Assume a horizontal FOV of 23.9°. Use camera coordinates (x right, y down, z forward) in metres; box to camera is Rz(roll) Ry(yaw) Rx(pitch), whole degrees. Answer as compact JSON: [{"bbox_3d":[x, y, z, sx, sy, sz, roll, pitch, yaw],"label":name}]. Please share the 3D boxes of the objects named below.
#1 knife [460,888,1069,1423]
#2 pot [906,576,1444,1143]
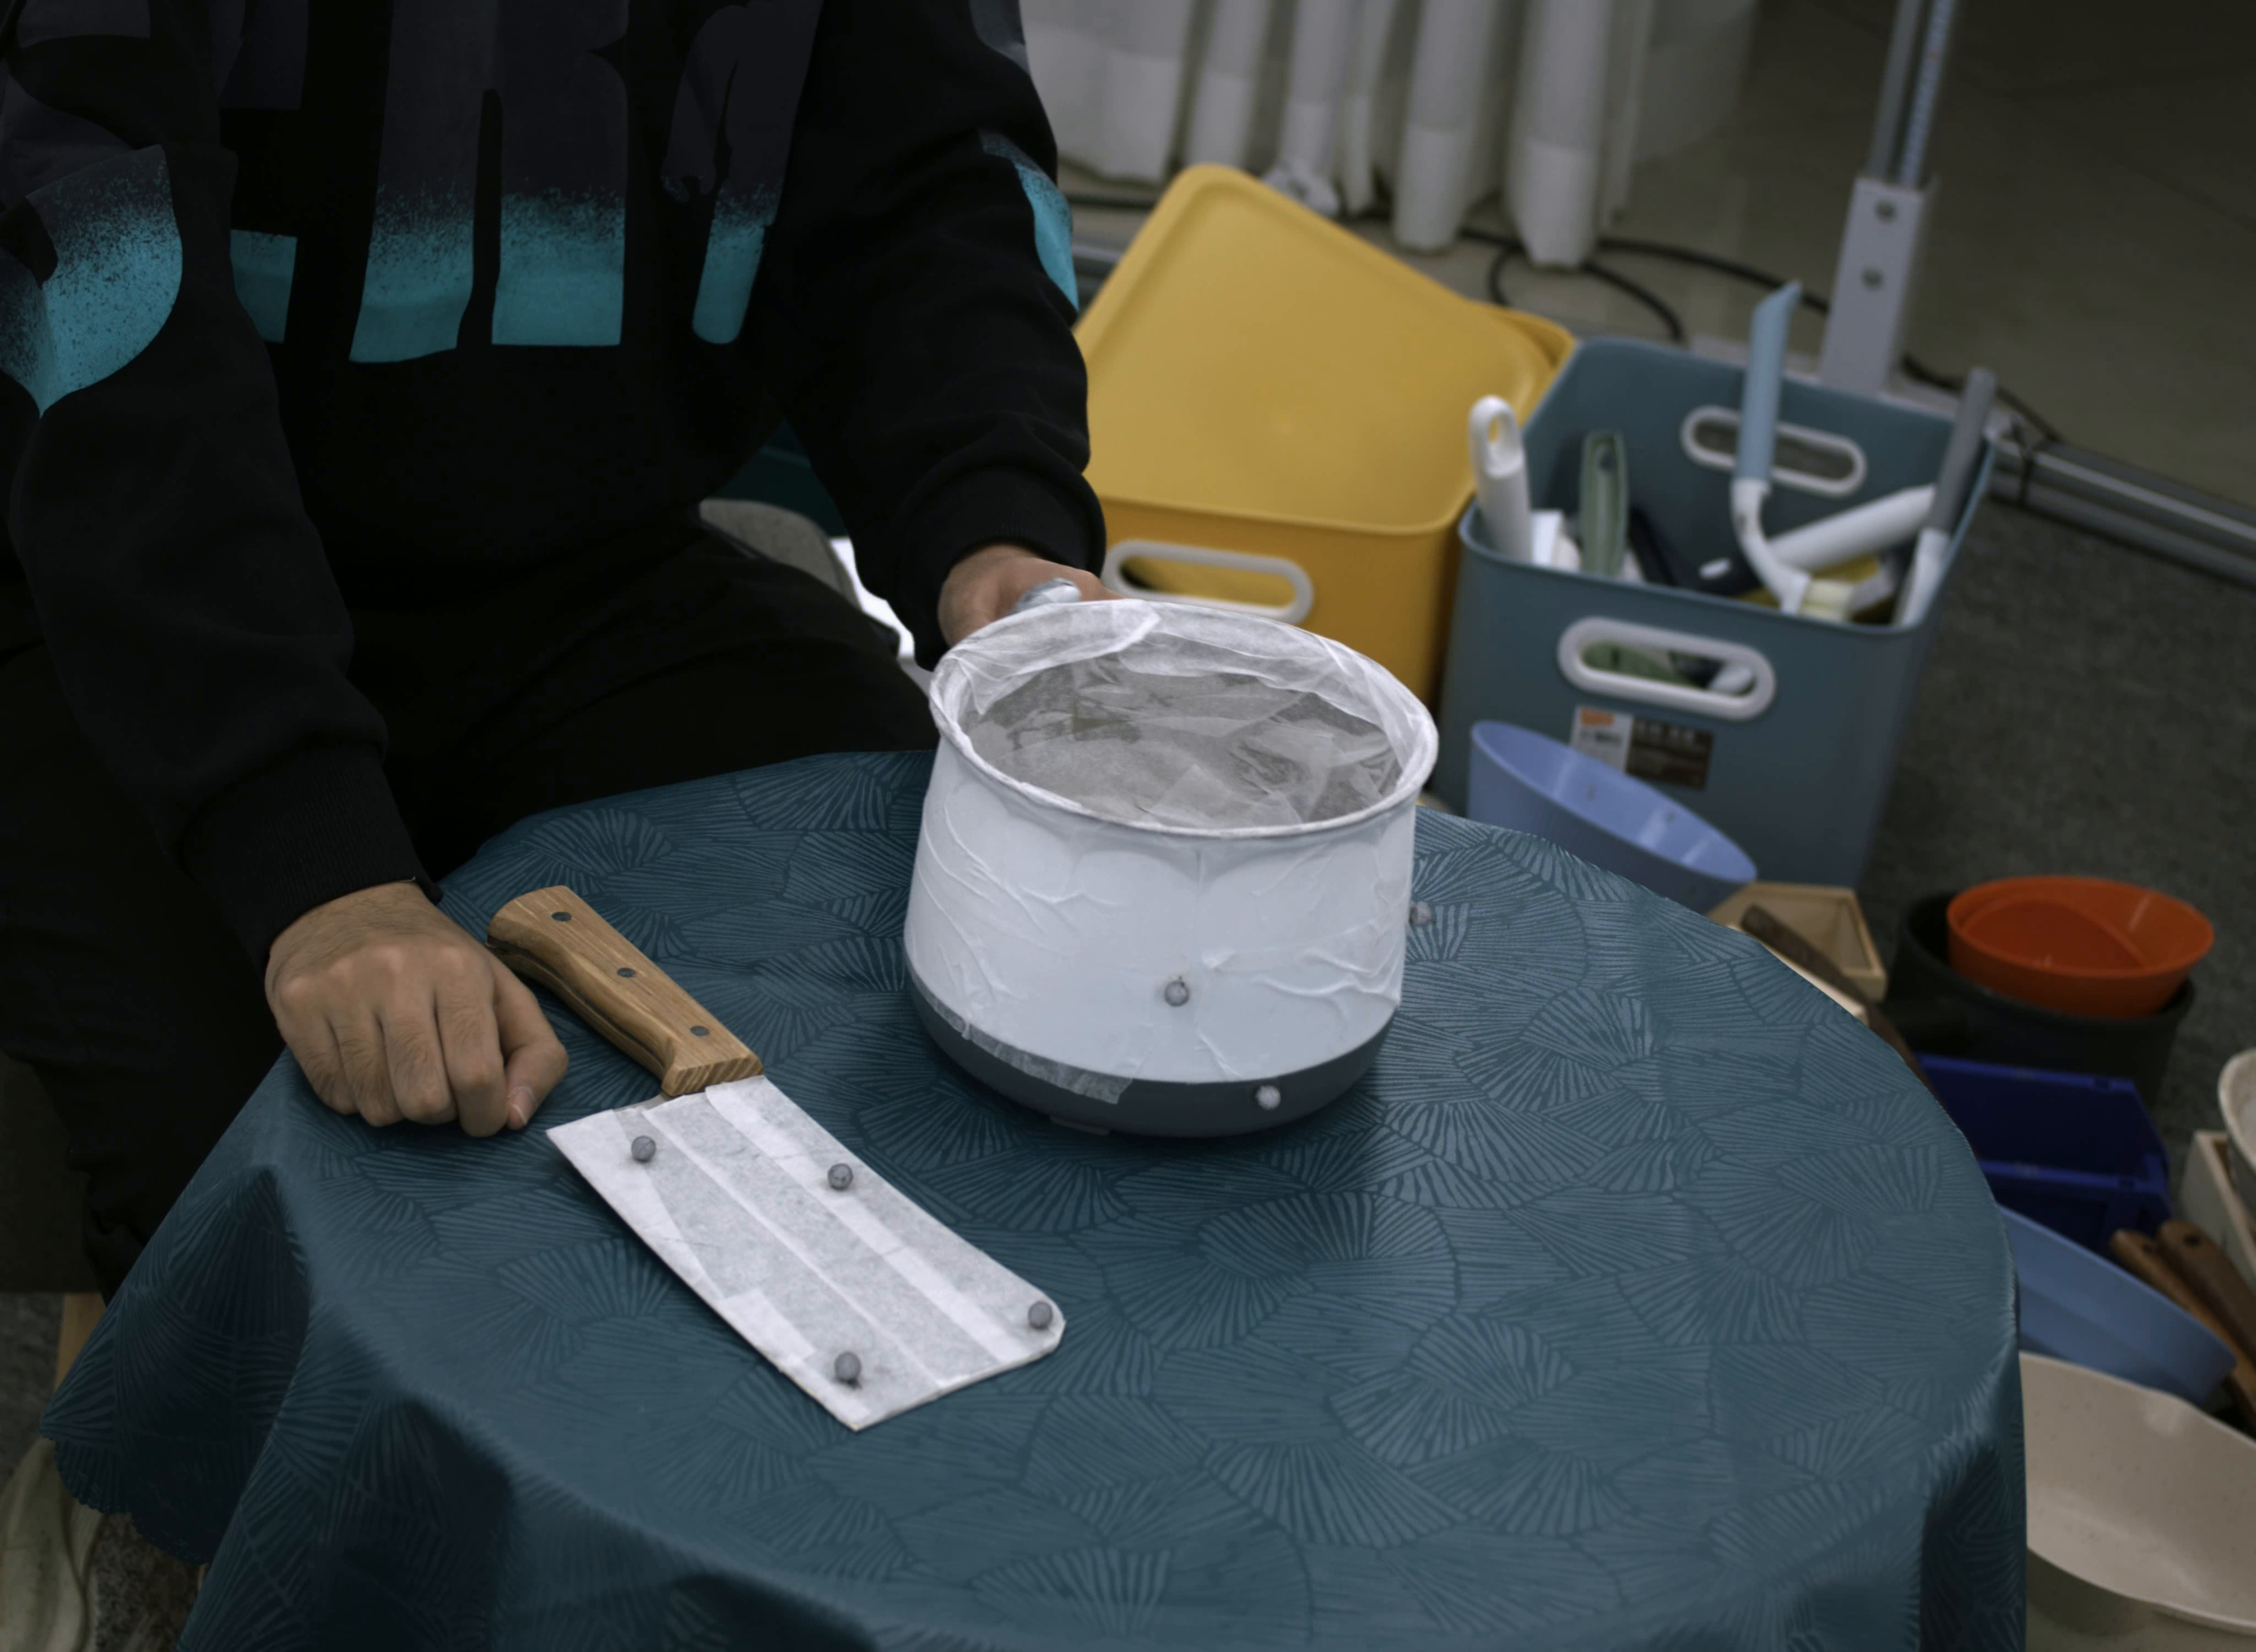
[{"bbox_3d":[-0.136,0.106,1.788,0.113,0.021,0.318,-12,35,-32],"label":"knife"},{"bbox_3d":[0.001,0.005,1.884,0.177,0.136,0.236,-7,31,-27],"label":"pot"}]
